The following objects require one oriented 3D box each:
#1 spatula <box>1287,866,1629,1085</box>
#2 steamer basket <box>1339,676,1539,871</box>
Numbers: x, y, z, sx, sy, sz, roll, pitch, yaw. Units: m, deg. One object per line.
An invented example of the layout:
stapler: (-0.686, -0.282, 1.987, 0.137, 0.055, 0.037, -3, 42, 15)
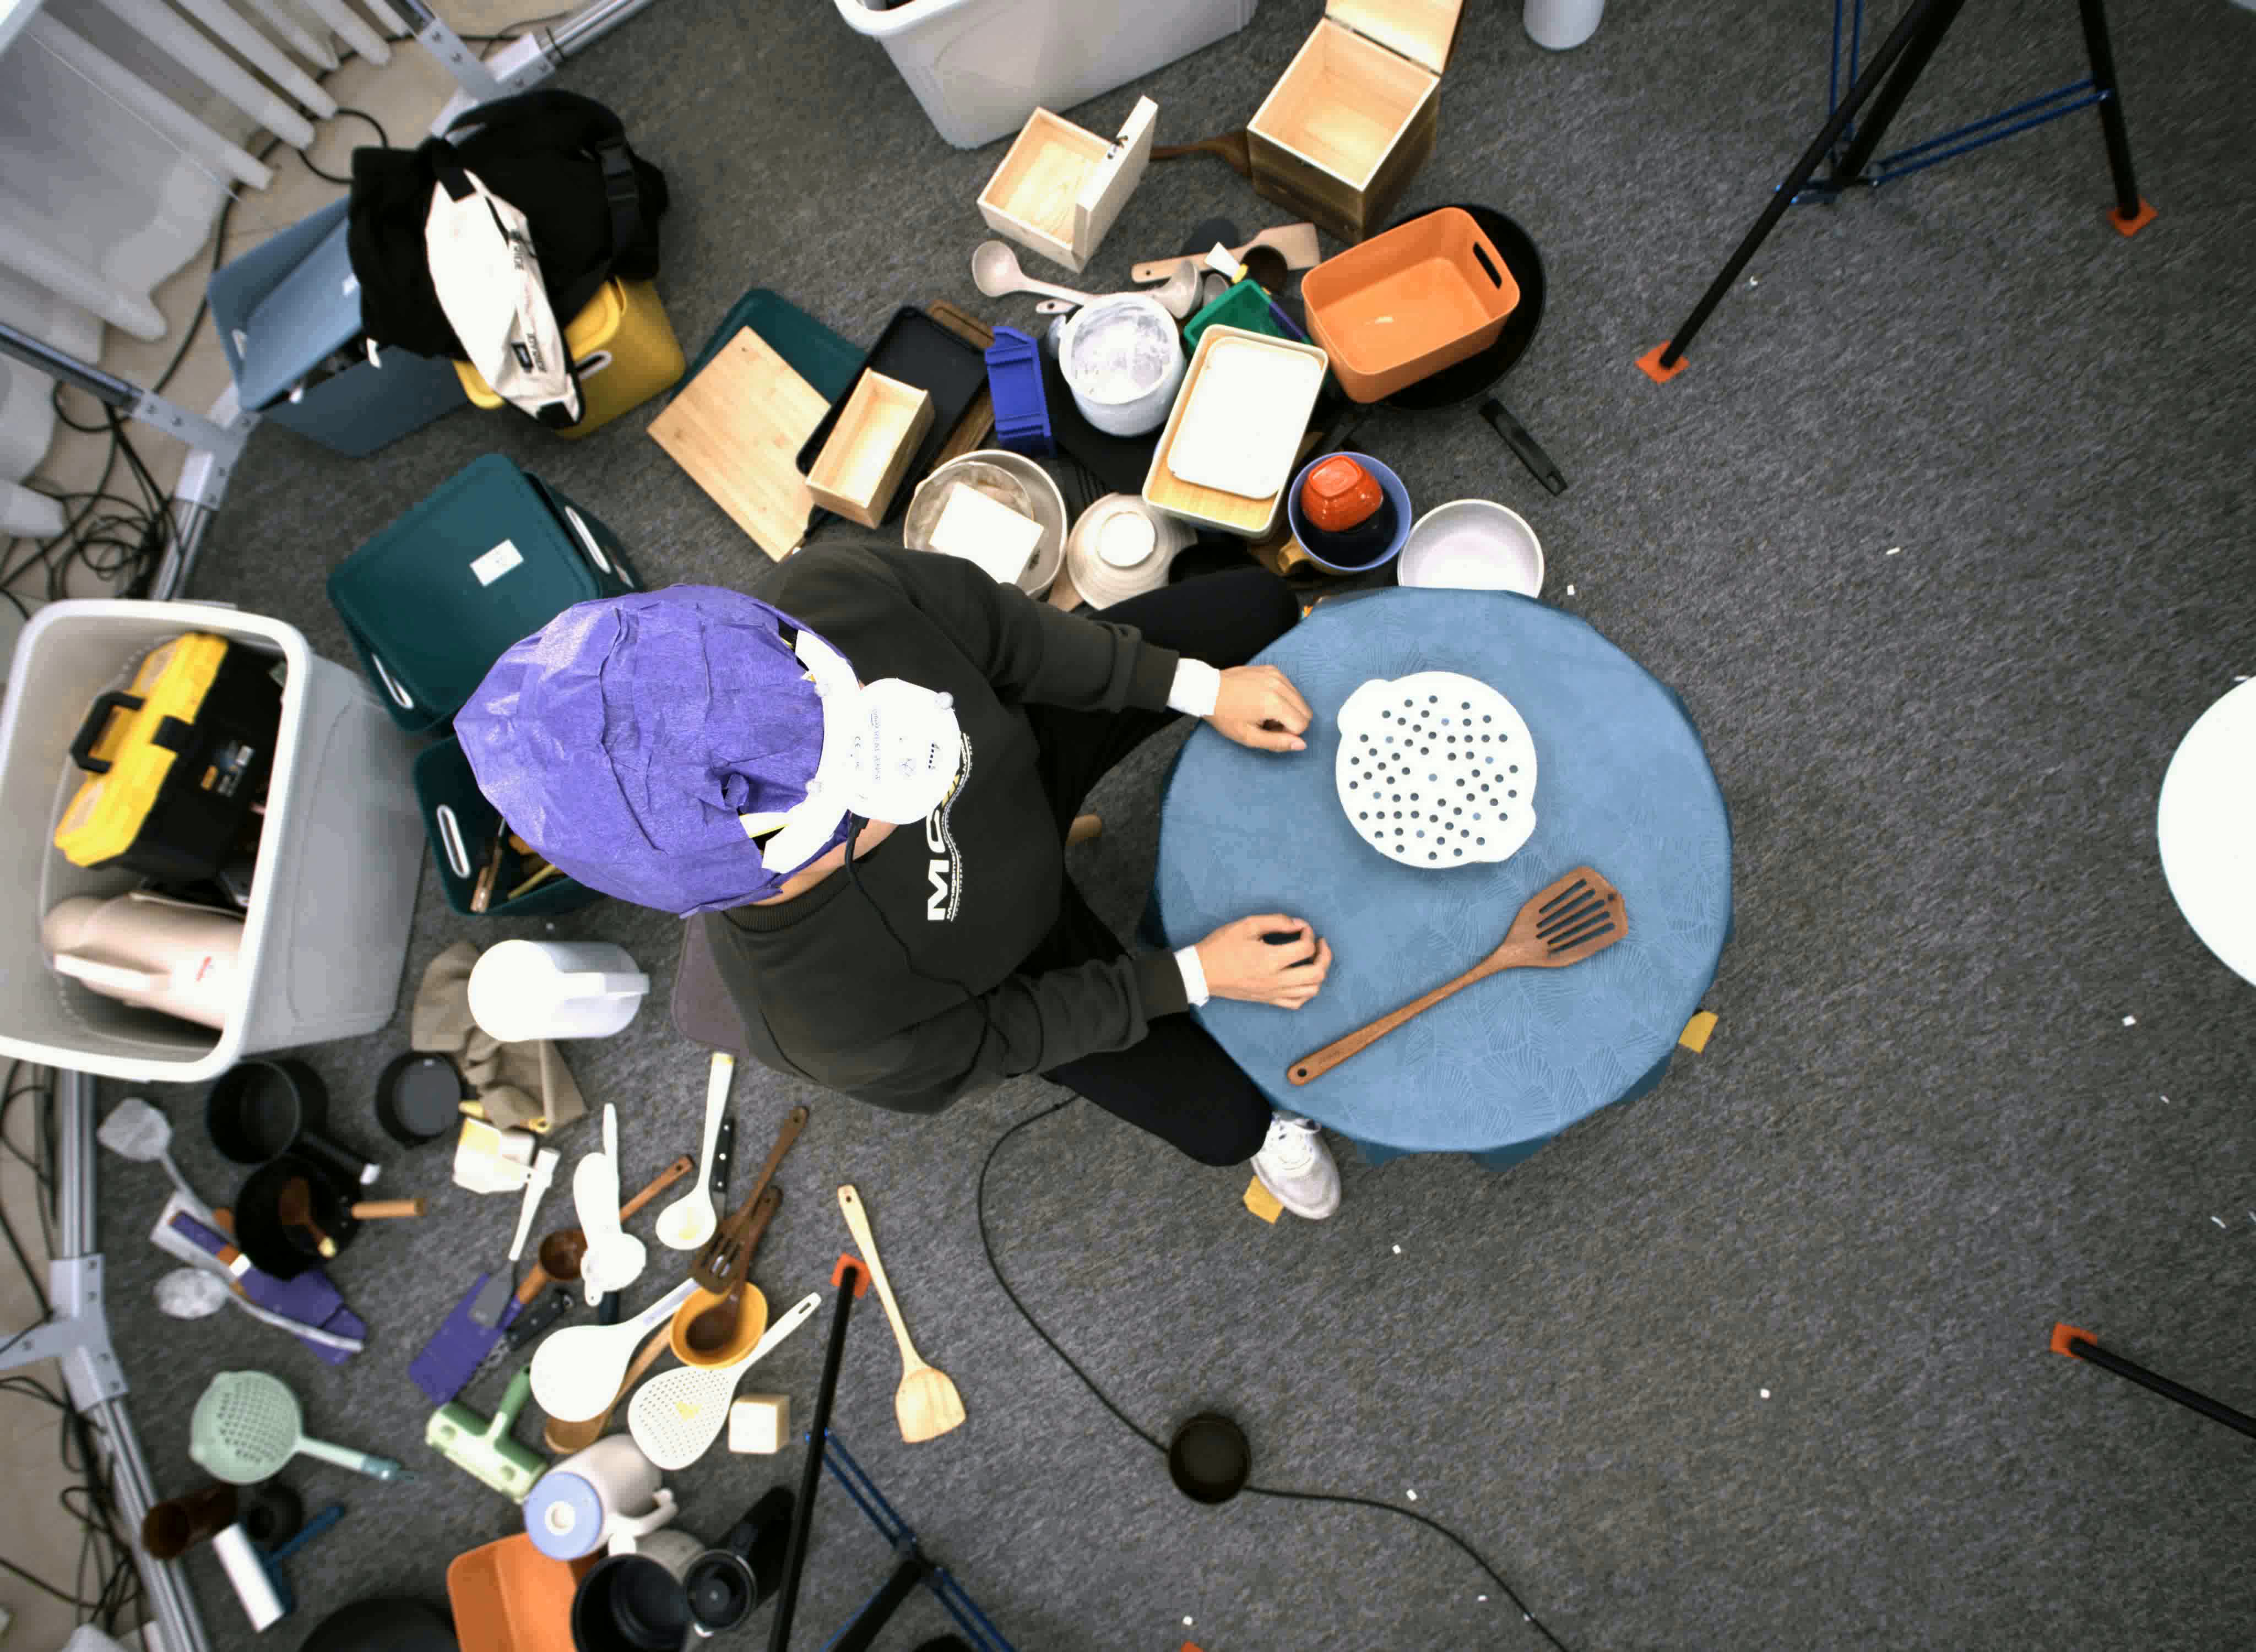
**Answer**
spatula: (0.334, 0.168, 1.432, 0.388, 0.024, 0.085, -31, 79, 9)
steamer basket: (0.321, -0.053, 1.427, 0.229, 0.069, 0.202, 44, 93, 14)
